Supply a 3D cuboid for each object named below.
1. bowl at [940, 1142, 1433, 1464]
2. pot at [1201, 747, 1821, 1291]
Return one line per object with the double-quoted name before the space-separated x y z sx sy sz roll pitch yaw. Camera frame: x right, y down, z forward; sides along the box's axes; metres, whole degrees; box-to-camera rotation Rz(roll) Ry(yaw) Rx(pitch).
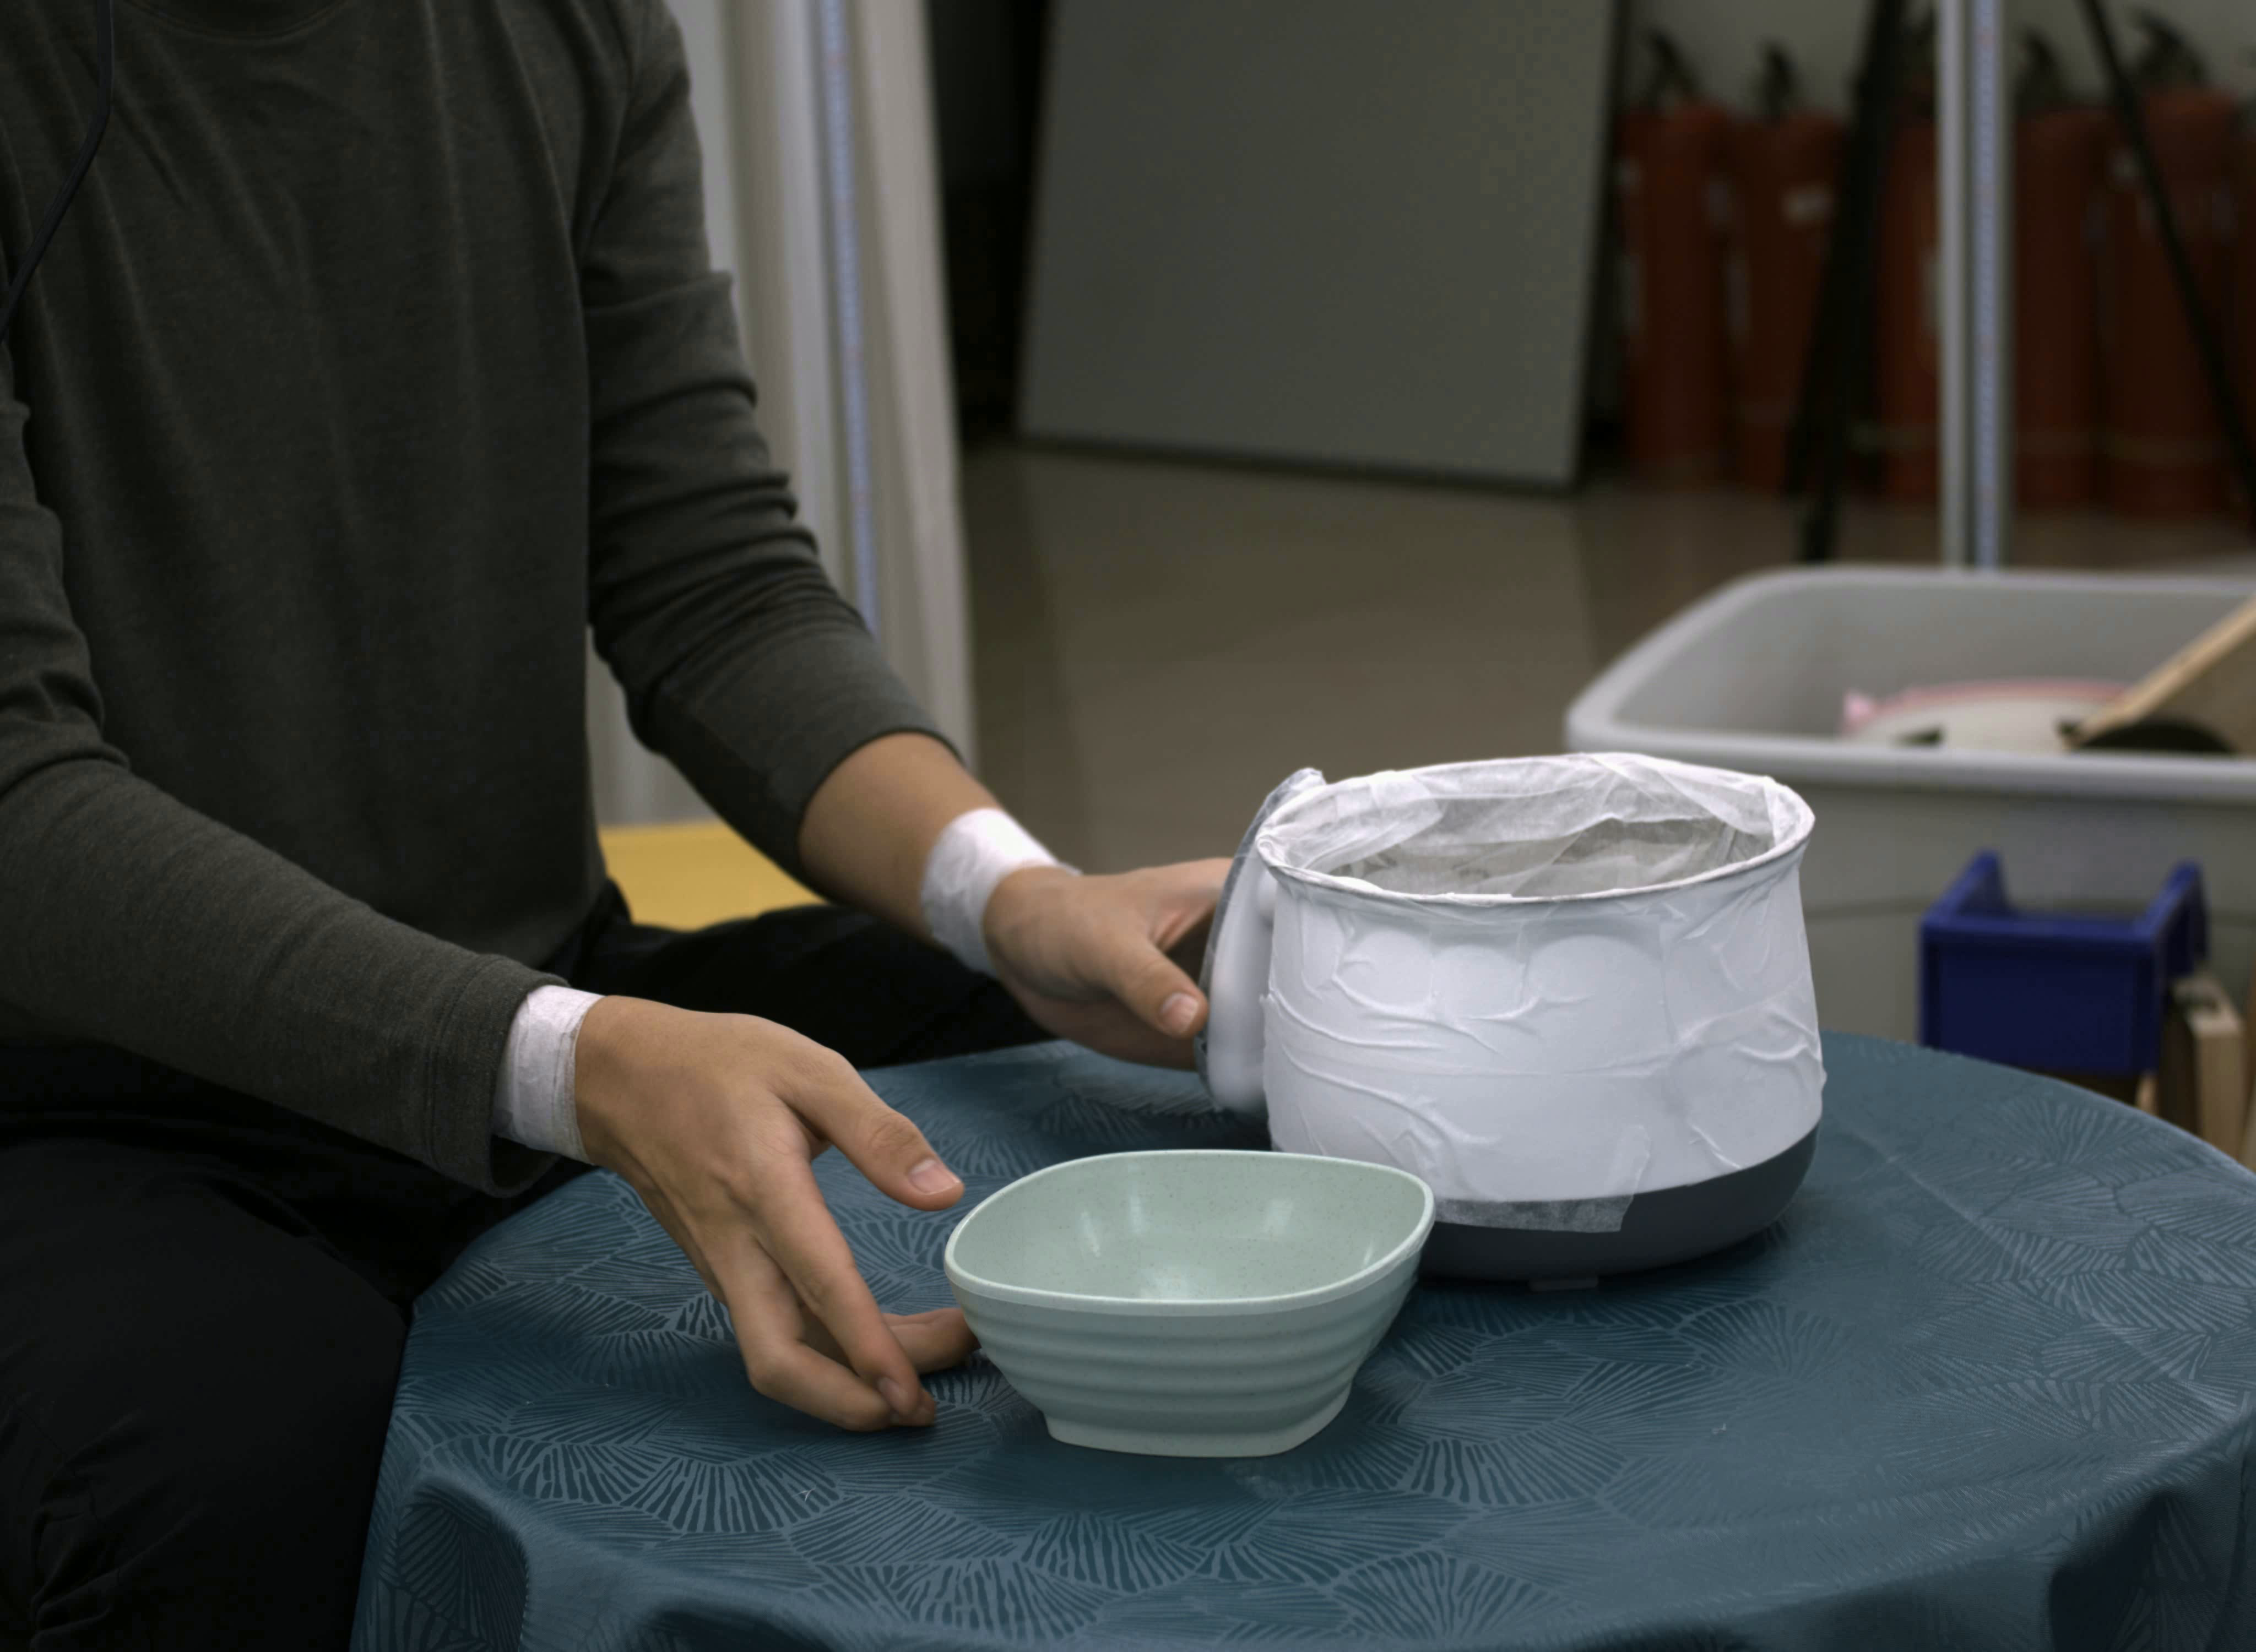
"bowl" 0.019 0.141 1.564 0.149 0.059 0.152 -2 15 0
"pot" 0.111 0.055 1.719 0.175 0.138 0.236 -16 18 -43
